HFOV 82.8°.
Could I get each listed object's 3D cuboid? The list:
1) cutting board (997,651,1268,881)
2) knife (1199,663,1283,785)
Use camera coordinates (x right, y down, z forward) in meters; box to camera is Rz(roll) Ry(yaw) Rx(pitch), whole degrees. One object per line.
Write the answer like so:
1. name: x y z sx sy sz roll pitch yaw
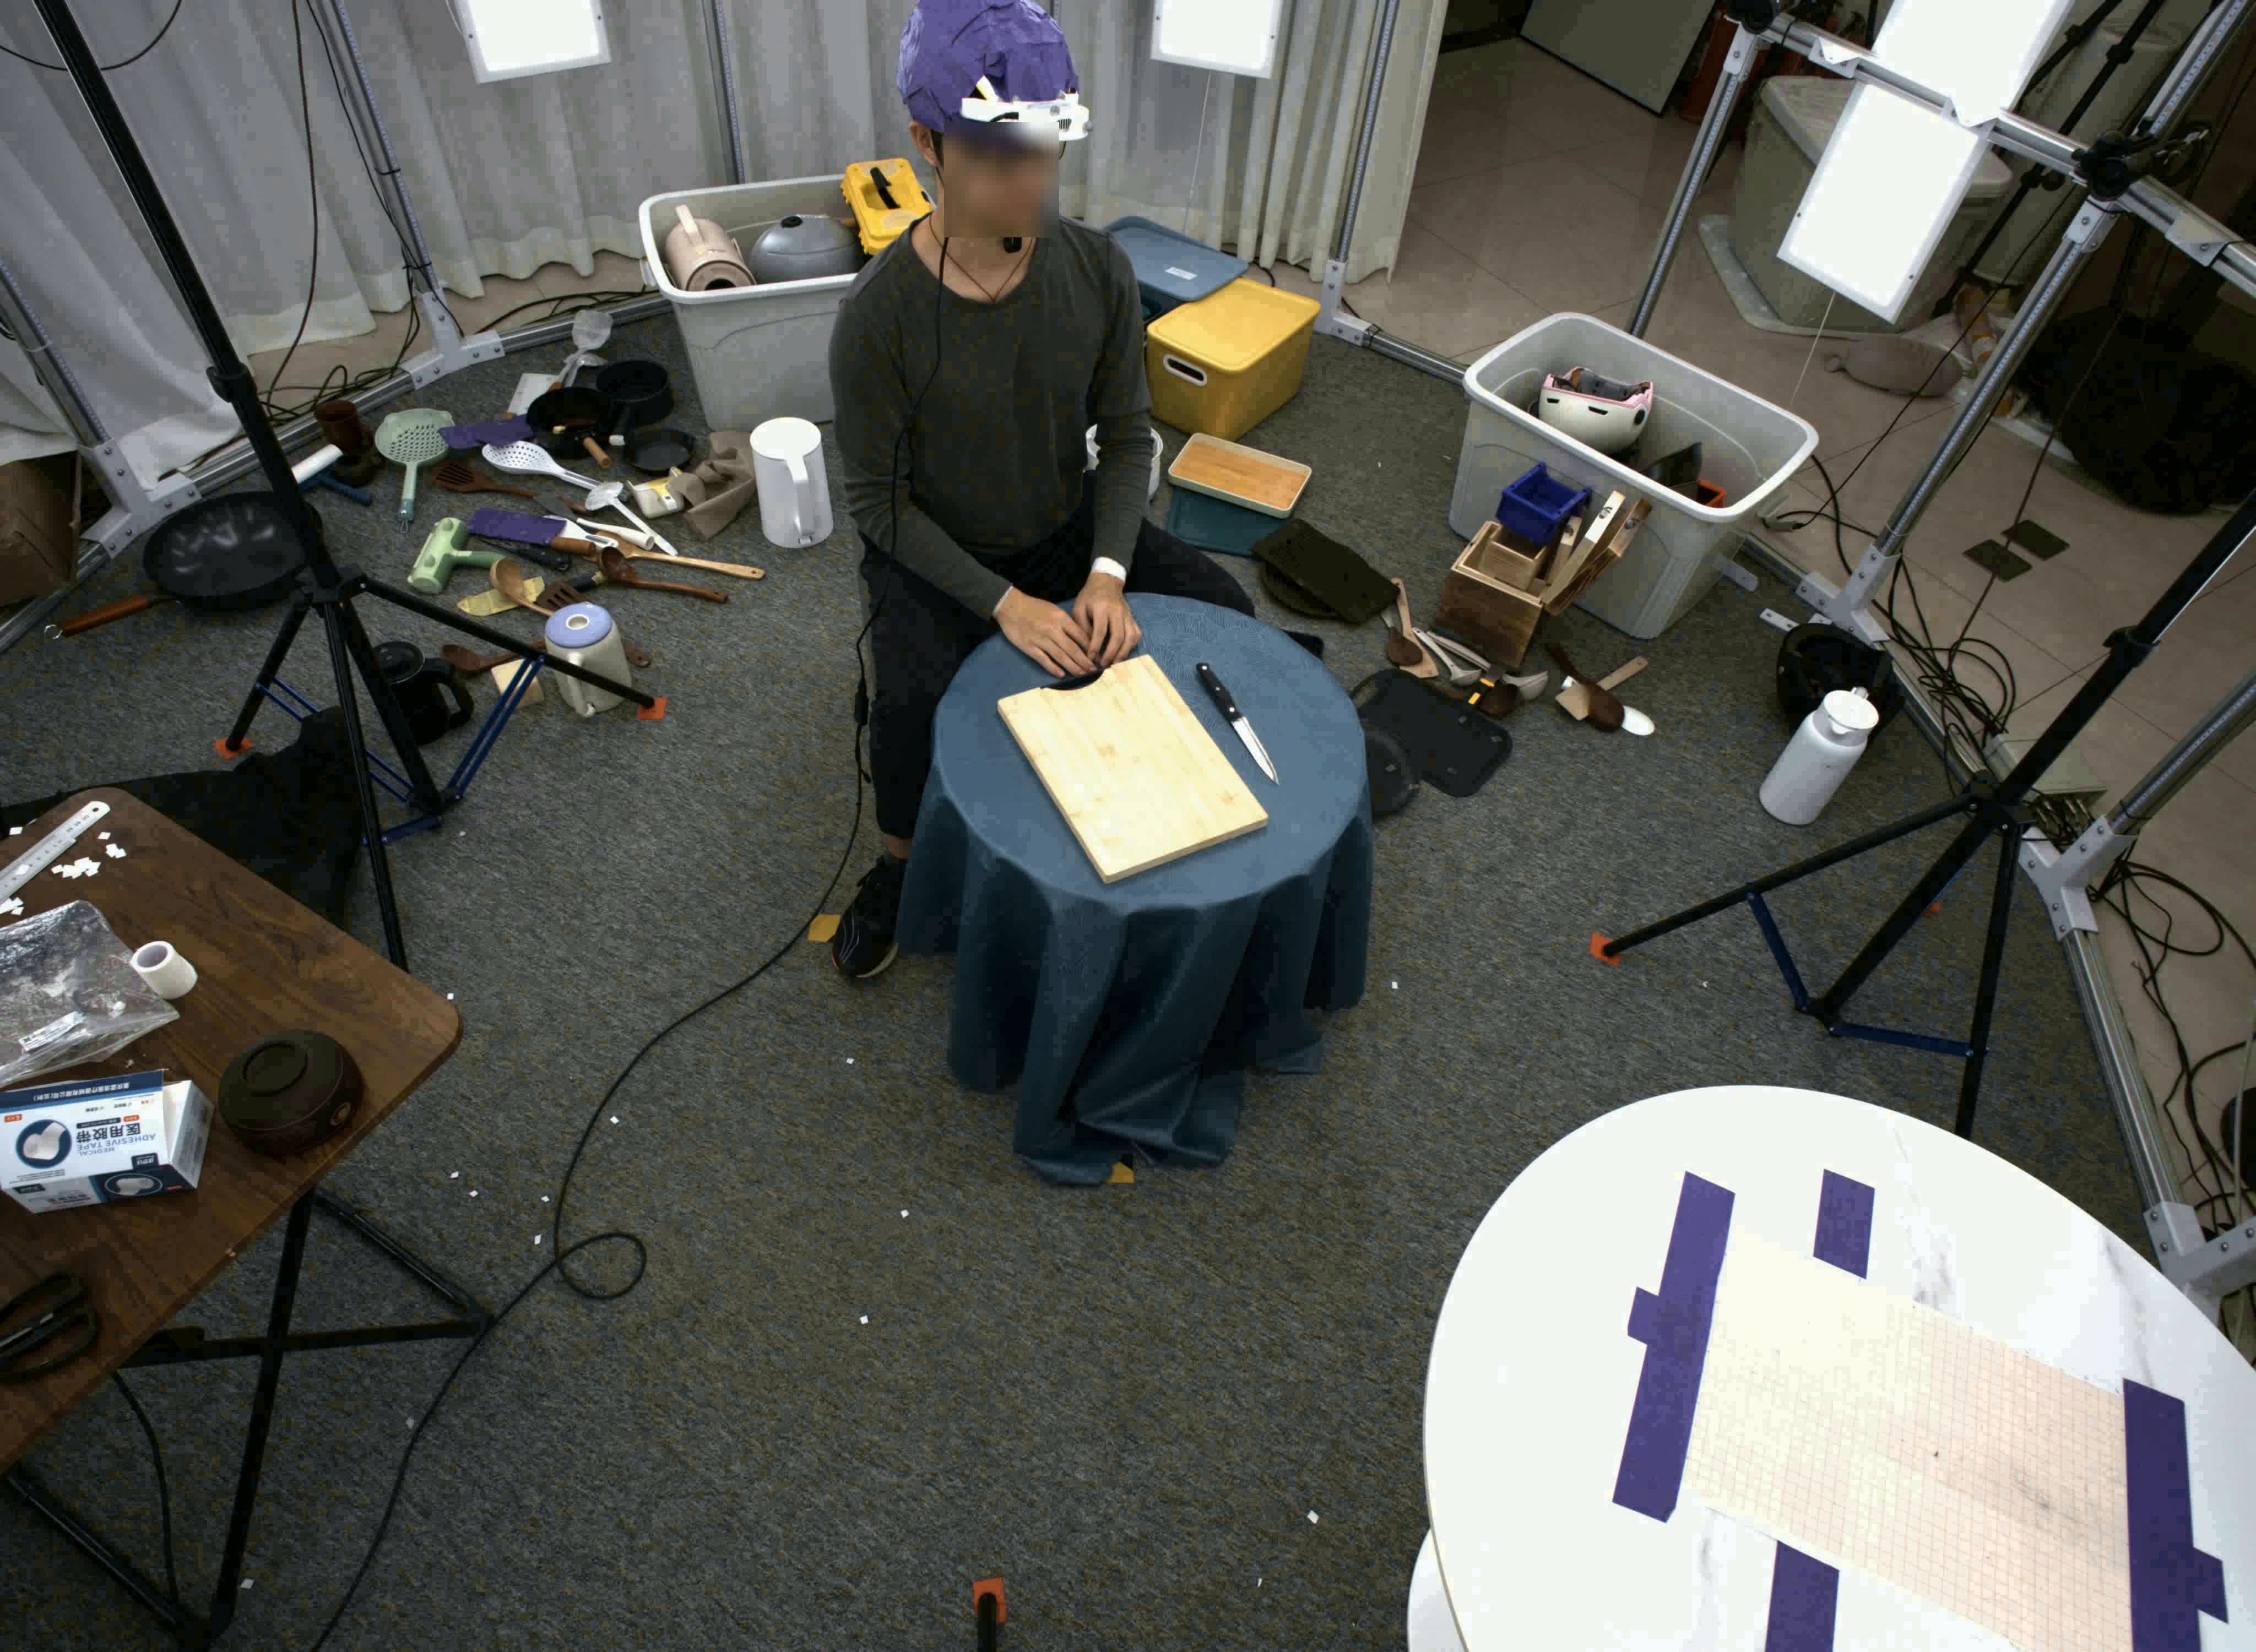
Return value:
1. cutting board: -0.001 -0.091 1.736 0.251 0.023 0.356 -19 53 -20
2. knife: 0.156 -0.144 1.795 0.024 0.016 0.243 -18 55 -17
